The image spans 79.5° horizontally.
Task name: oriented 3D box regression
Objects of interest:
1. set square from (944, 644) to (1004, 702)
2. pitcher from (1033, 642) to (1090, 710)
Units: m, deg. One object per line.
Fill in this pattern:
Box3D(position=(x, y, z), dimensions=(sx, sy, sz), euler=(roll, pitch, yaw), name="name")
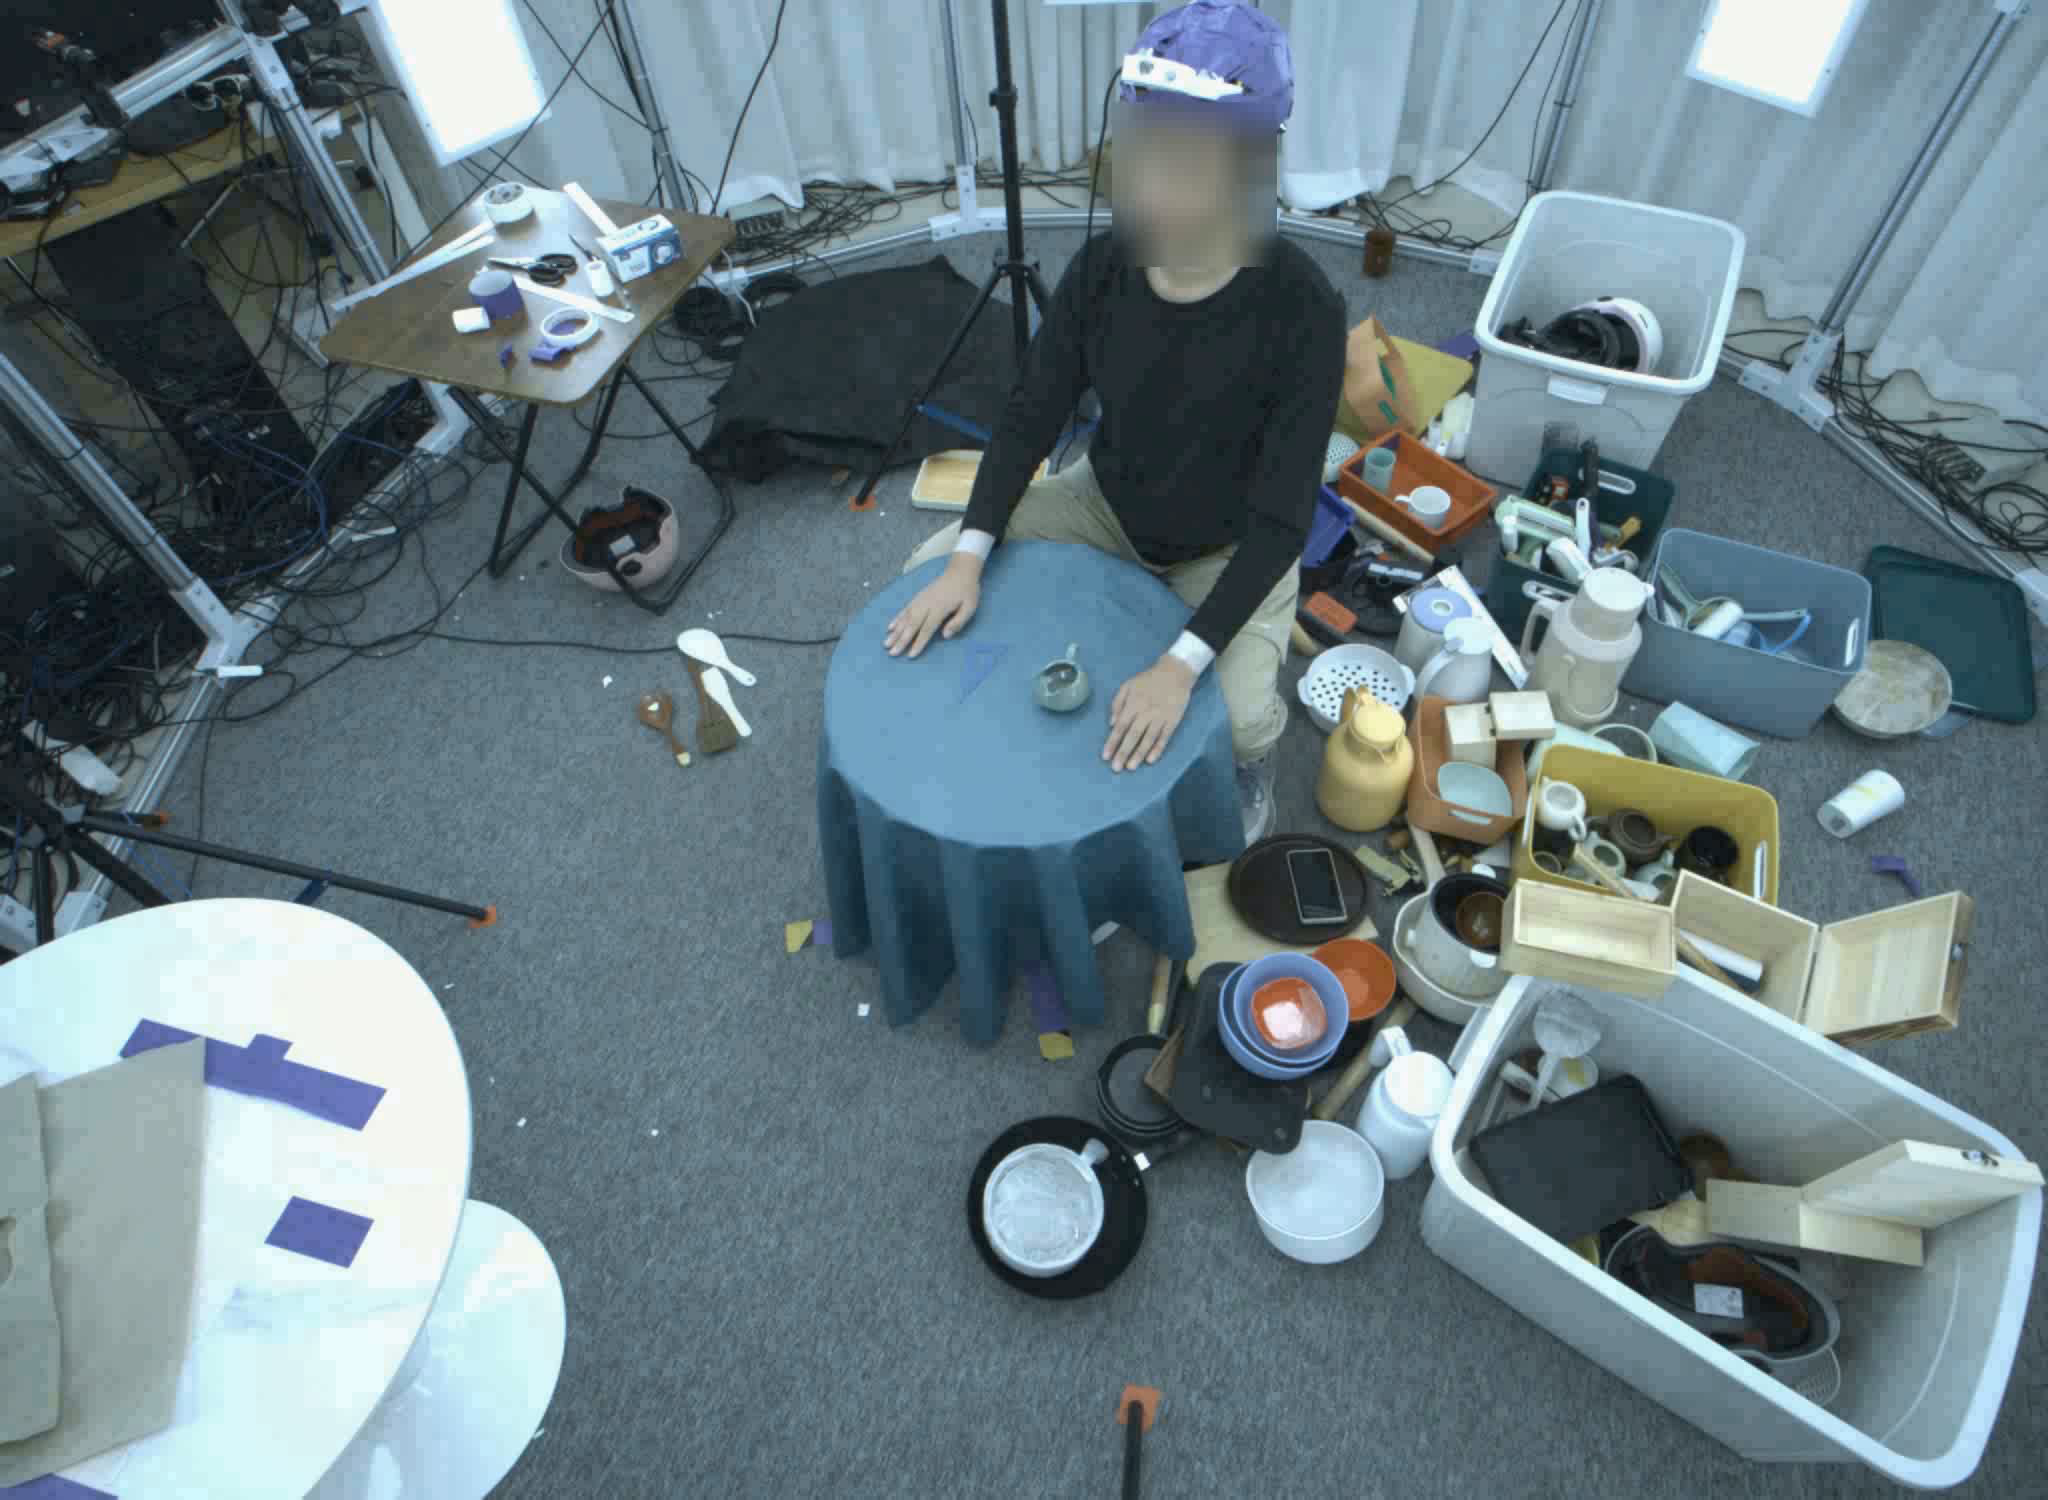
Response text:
Box3D(position=(-0.093, -0.127, 1.878), dimensions=(0.060, 0.006, 0.133), euler=(33, 62, 21), name="set square")
Box3D(position=(0.058, -0.107, 1.827), dimensions=(0.083, 0.057, 0.112), euler=(16, 57, 11), name="pitcher")
